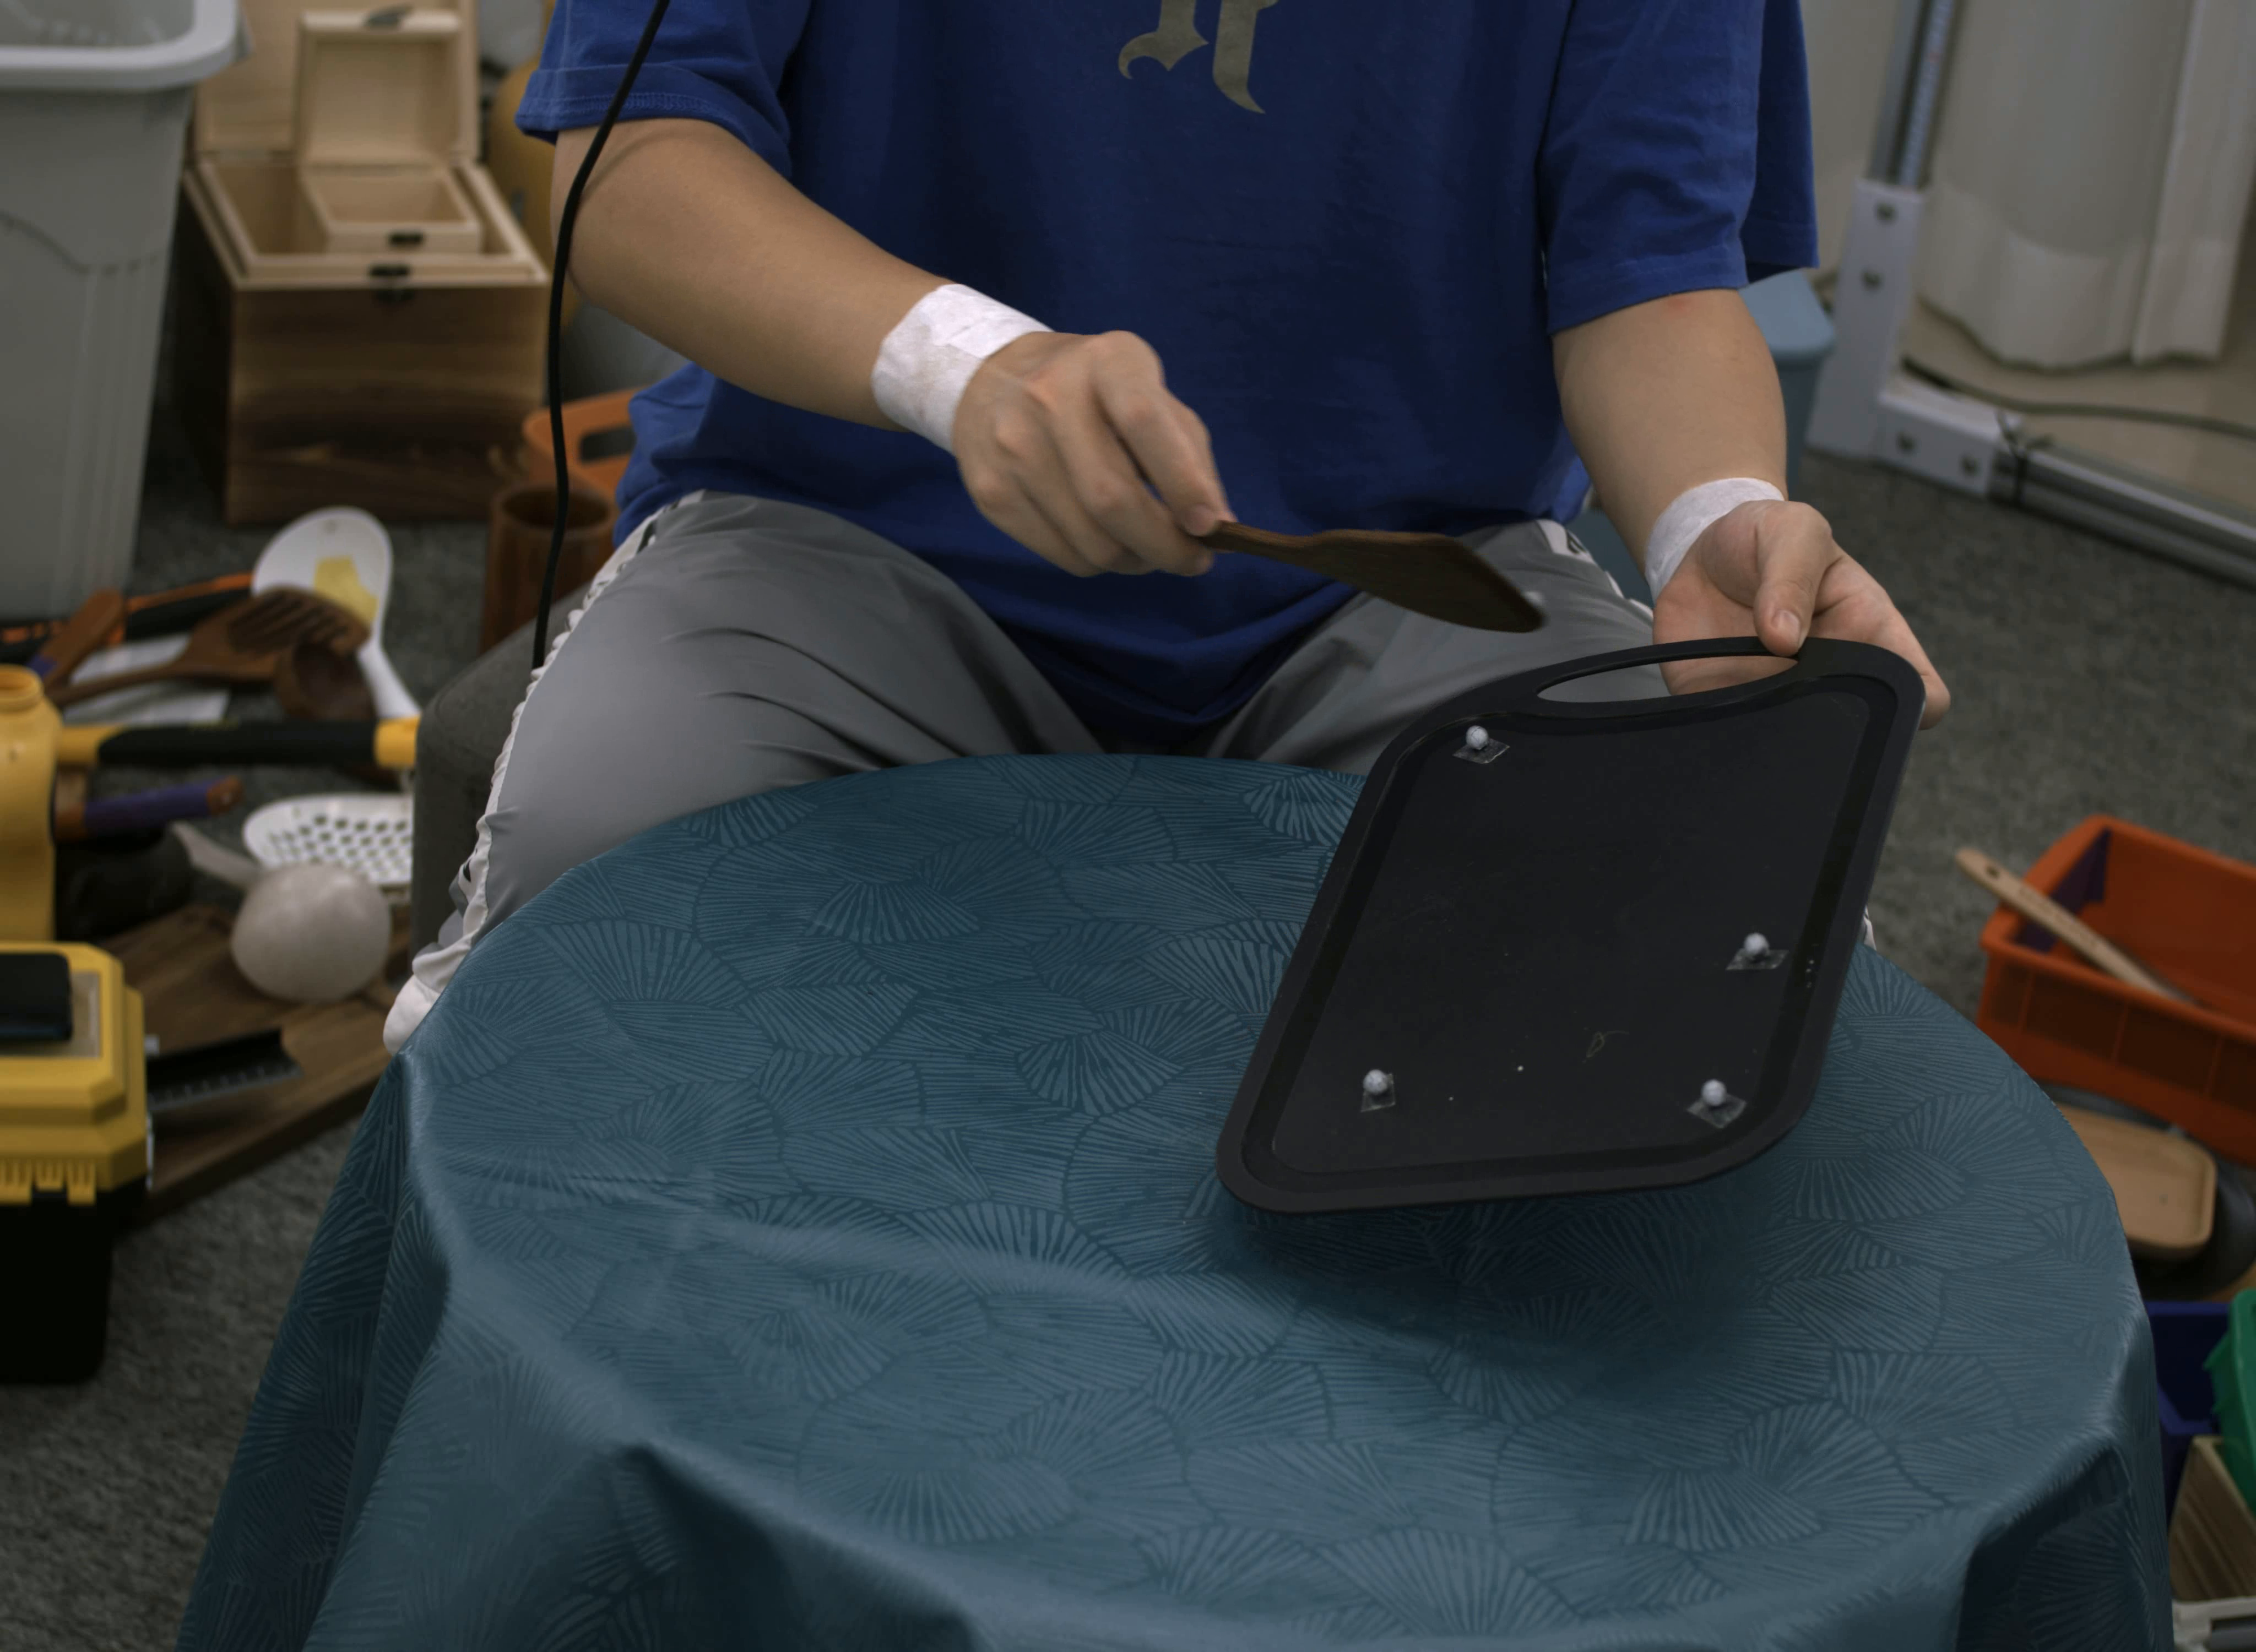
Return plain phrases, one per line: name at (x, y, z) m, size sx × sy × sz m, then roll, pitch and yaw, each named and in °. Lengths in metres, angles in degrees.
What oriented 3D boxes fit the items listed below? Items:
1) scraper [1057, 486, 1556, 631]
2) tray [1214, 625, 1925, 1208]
scraper at (0.055, -0.099, 1.877) m, size 0.212 × 0.011 × 0.075 m, roll 14°, pitch -15°, yaw 42°
tray at (0.157, 0.023, 1.837) m, size 0.211 × 0.010 × 0.327 m, roll -7°, pitch 33°, yaw 25°
